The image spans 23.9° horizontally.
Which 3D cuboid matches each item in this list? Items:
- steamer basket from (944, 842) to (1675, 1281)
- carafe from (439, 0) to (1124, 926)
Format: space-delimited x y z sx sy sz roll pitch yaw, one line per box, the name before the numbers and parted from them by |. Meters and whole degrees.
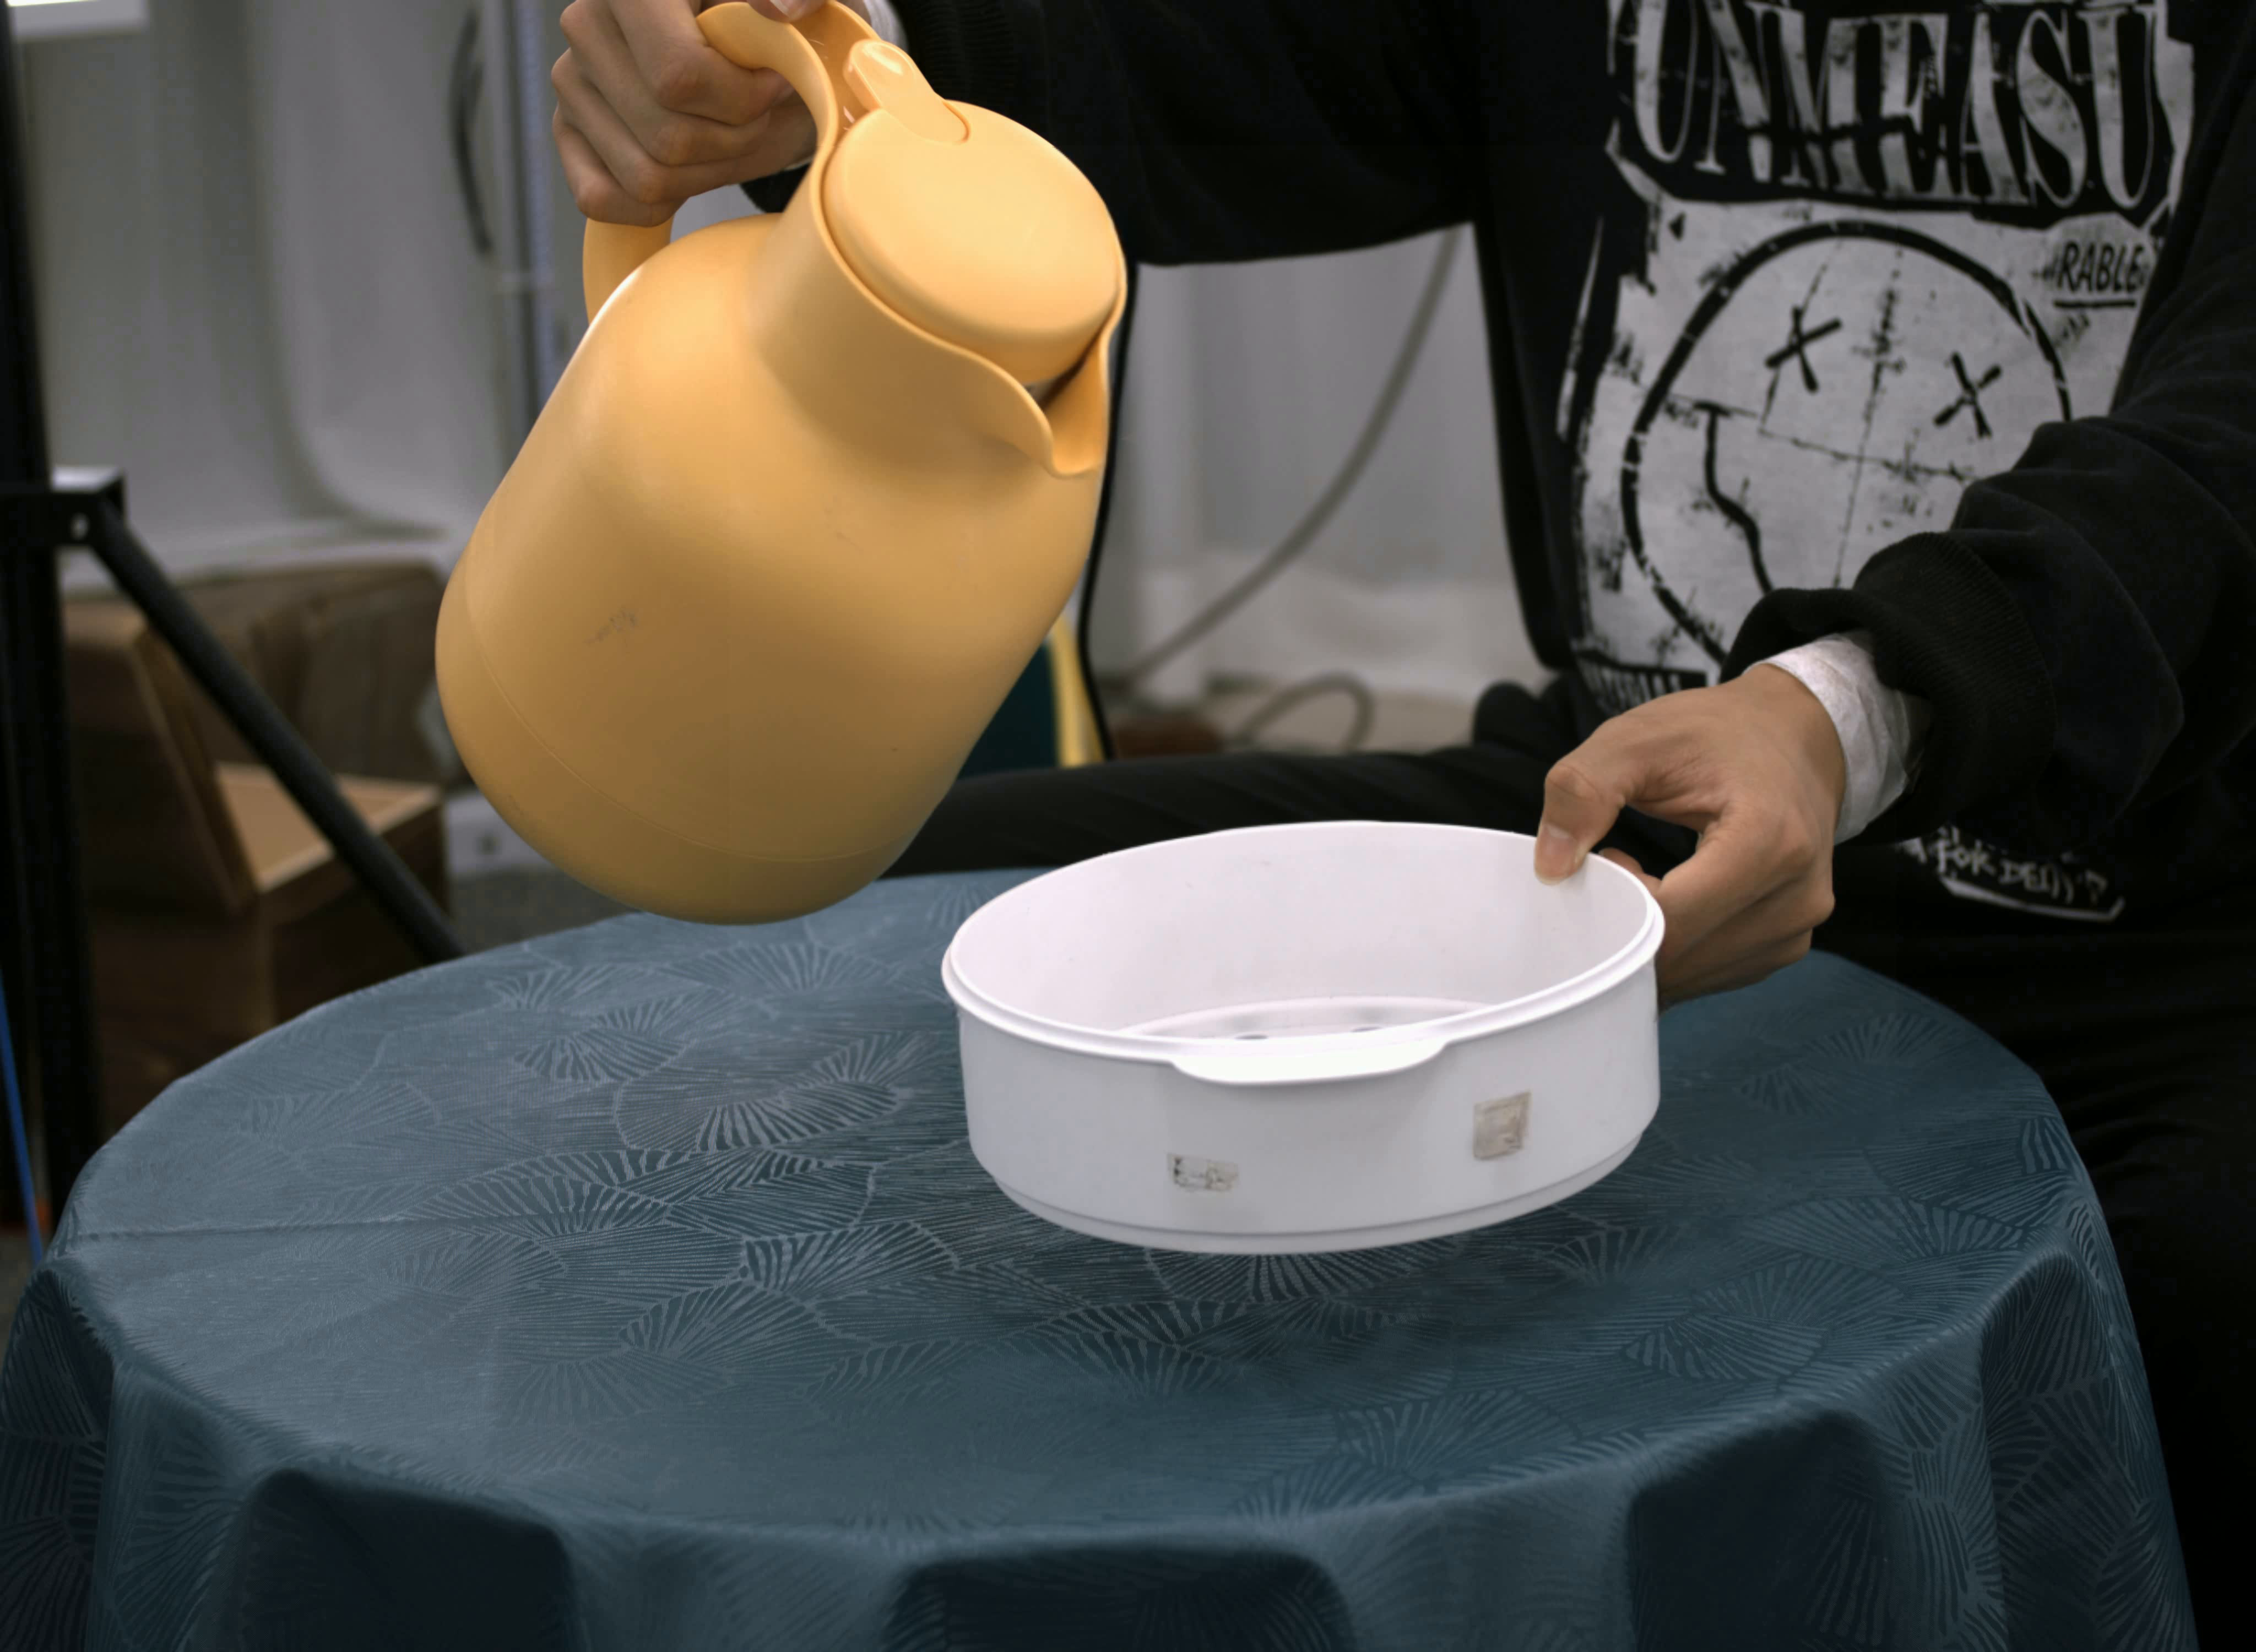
steamer basket | 0.052 0.064 1.466 0.201 0.069 0.231 -4 16 3
carafe | -0.100 -0.114 1.570 0.159 0.262 0.206 -9 59 -36
